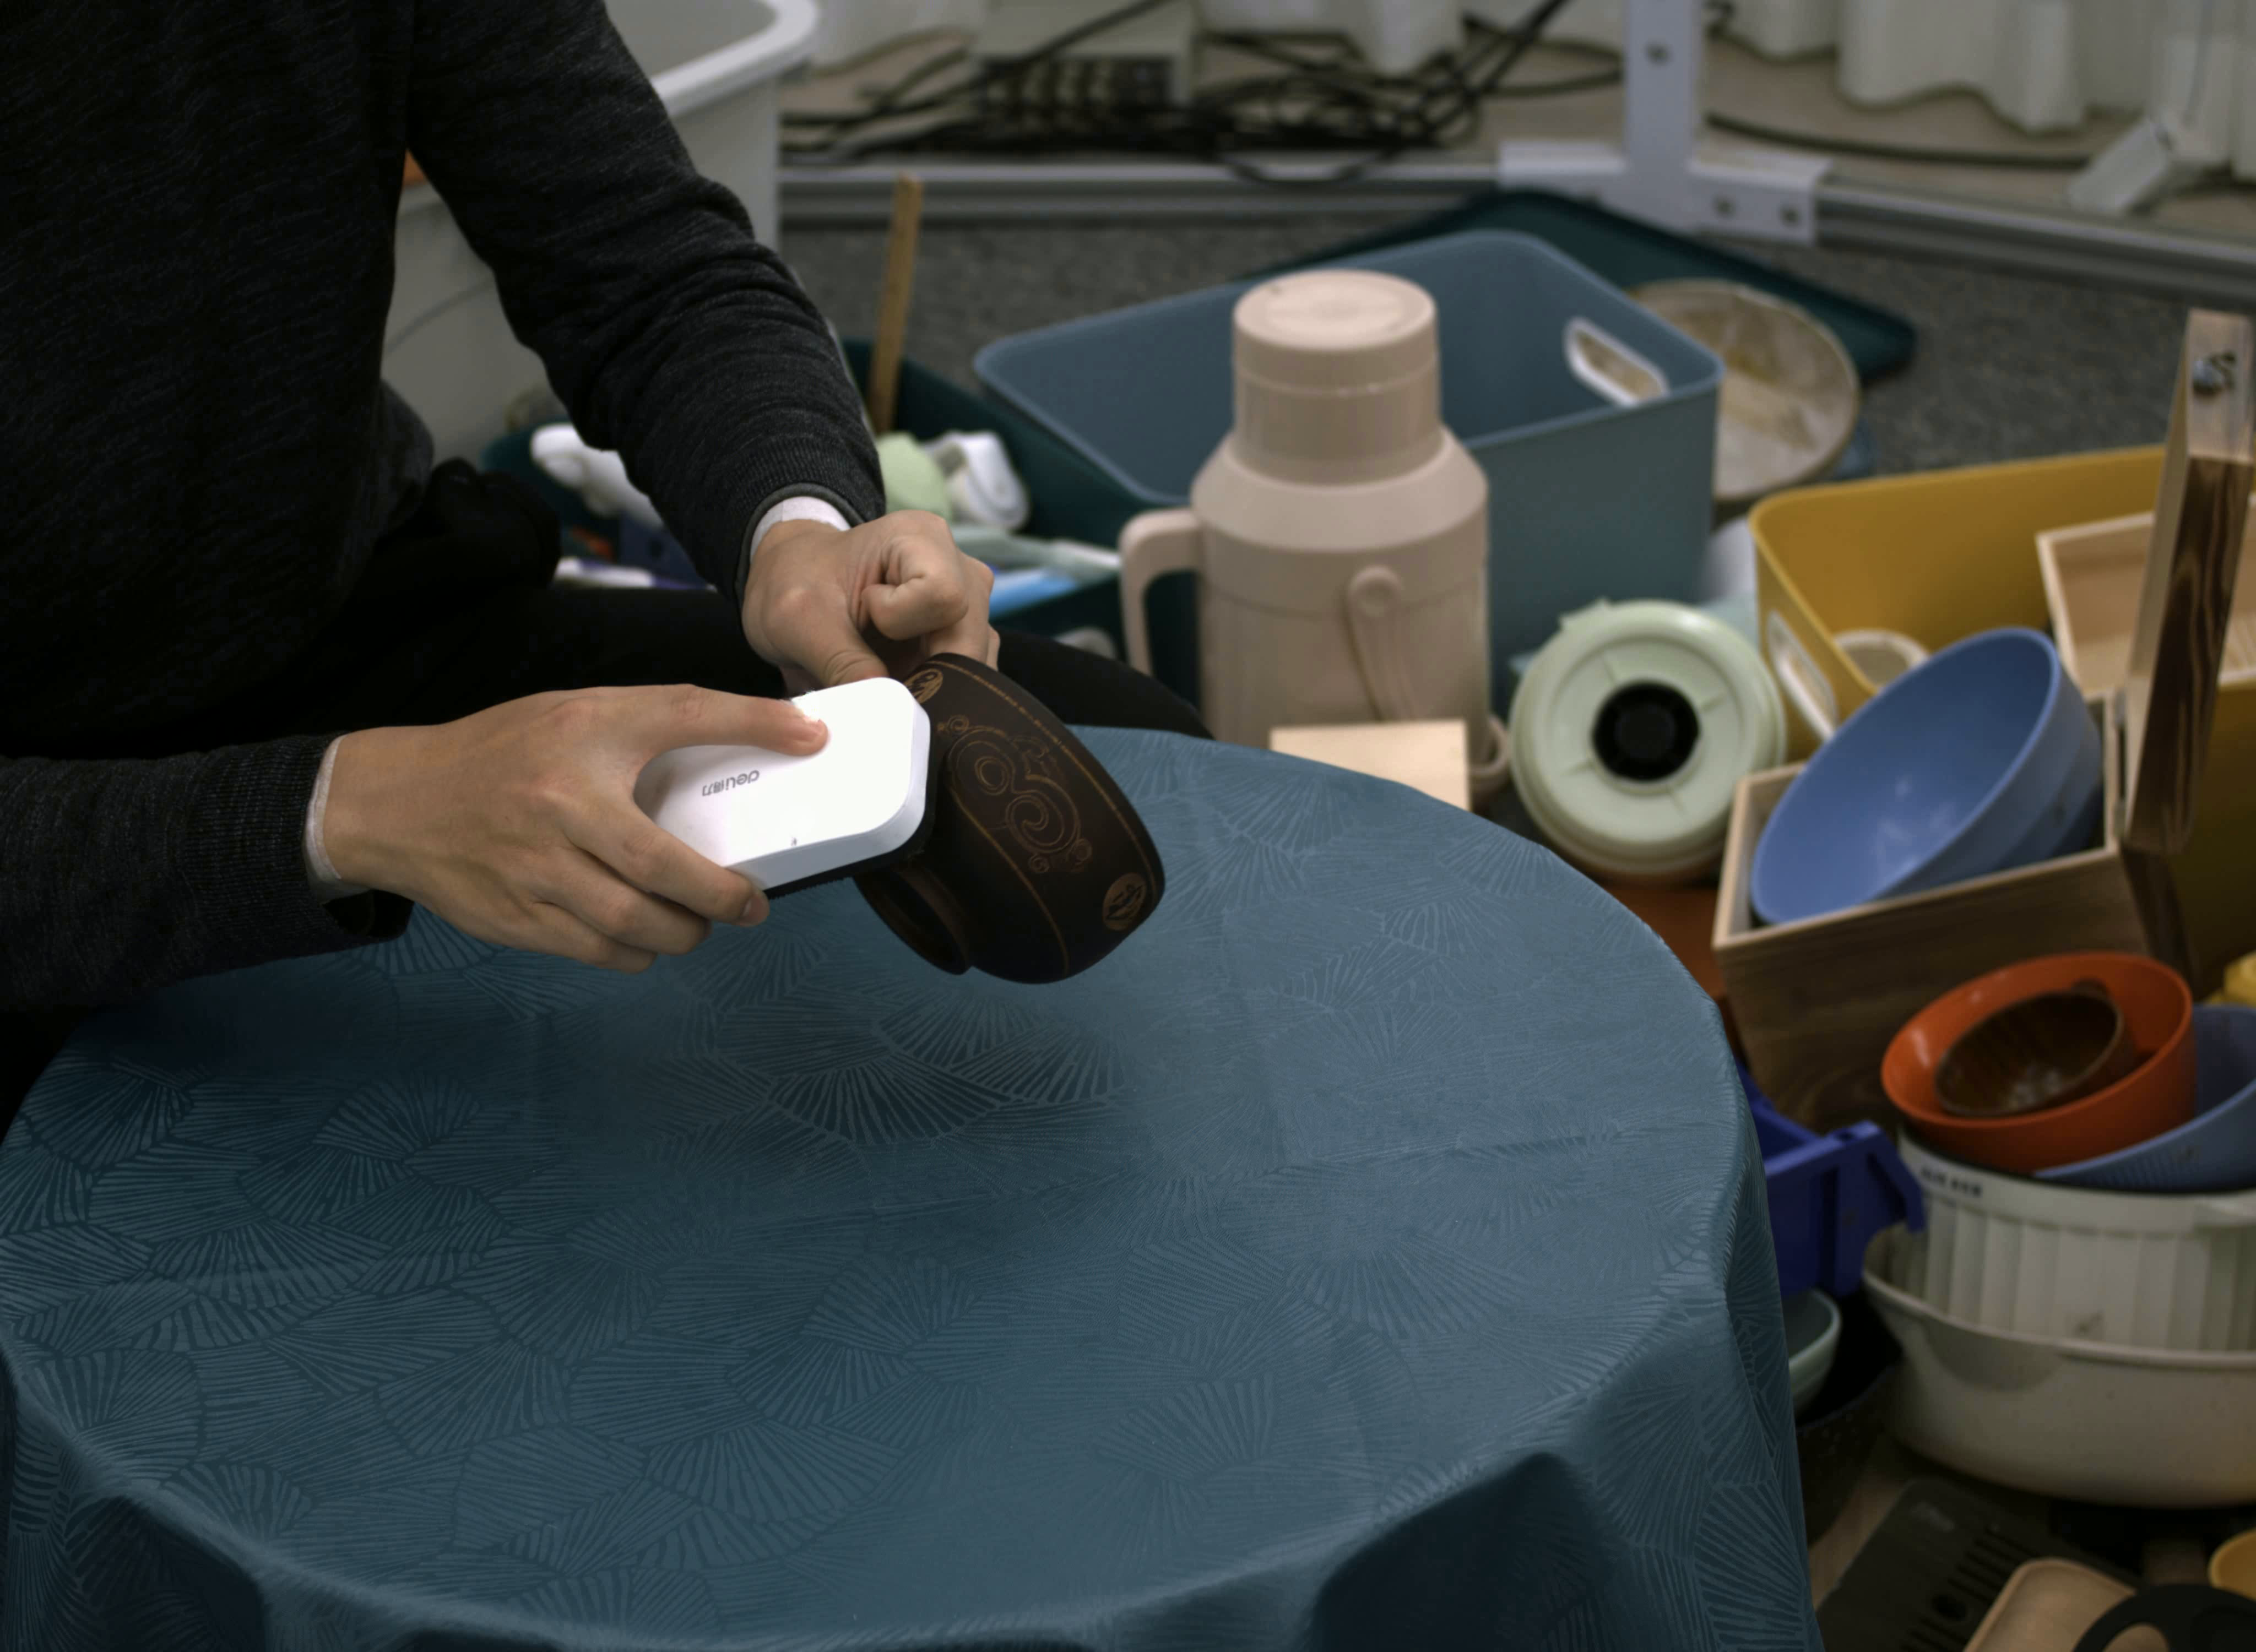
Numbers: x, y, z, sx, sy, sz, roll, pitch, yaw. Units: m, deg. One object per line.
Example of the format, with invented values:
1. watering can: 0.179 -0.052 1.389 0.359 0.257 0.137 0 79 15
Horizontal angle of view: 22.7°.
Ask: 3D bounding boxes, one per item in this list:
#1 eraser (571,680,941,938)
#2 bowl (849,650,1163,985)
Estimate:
1. eraser: -0.123 -0.006 1.843 0.130 0.034 0.064 -16 50 24
2. bowl: -0.052 0.006 1.883 0.070 0.117 0.118 -44 43 -18
